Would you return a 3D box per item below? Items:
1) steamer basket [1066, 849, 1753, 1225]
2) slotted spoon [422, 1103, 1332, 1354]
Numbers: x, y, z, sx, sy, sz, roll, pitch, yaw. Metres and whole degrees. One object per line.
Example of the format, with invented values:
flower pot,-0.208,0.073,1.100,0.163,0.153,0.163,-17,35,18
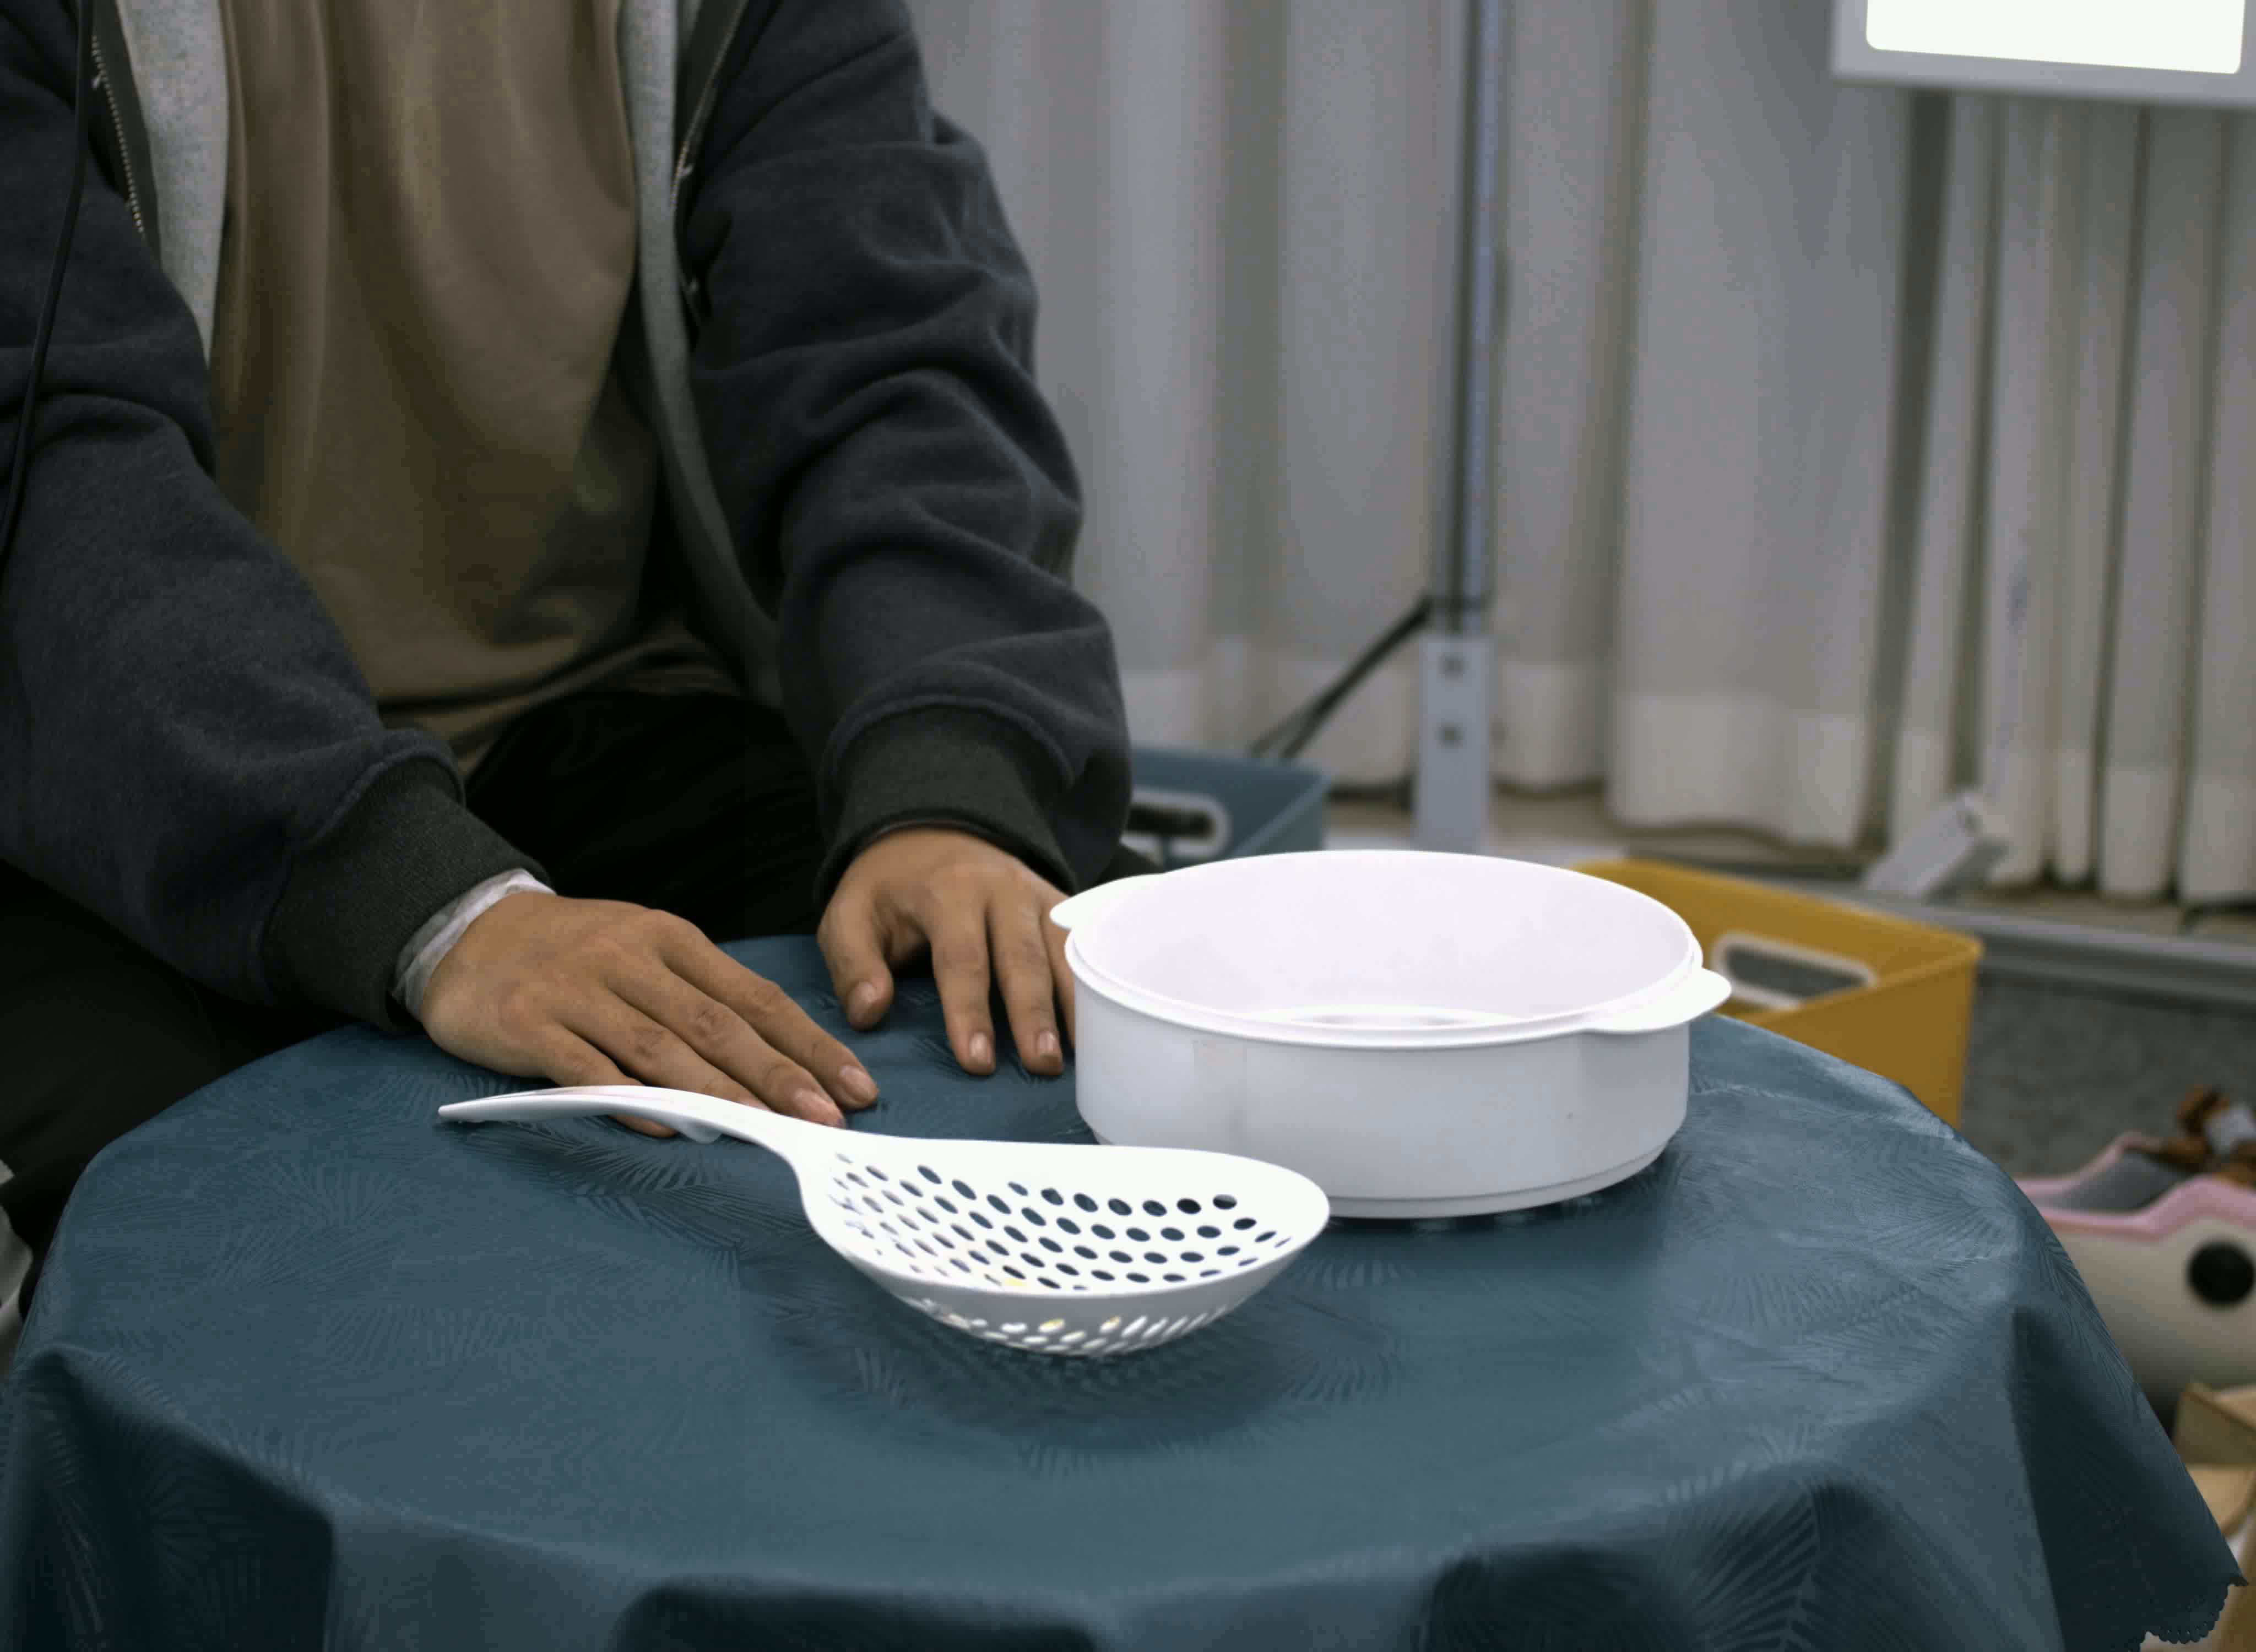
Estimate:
steamer basket,0.085,0.066,1.663,0.228,0.070,0.202,13,19,31
slotted spoon,-0.090,0.106,1.566,0.343,0.051,0.137,14,24,41
